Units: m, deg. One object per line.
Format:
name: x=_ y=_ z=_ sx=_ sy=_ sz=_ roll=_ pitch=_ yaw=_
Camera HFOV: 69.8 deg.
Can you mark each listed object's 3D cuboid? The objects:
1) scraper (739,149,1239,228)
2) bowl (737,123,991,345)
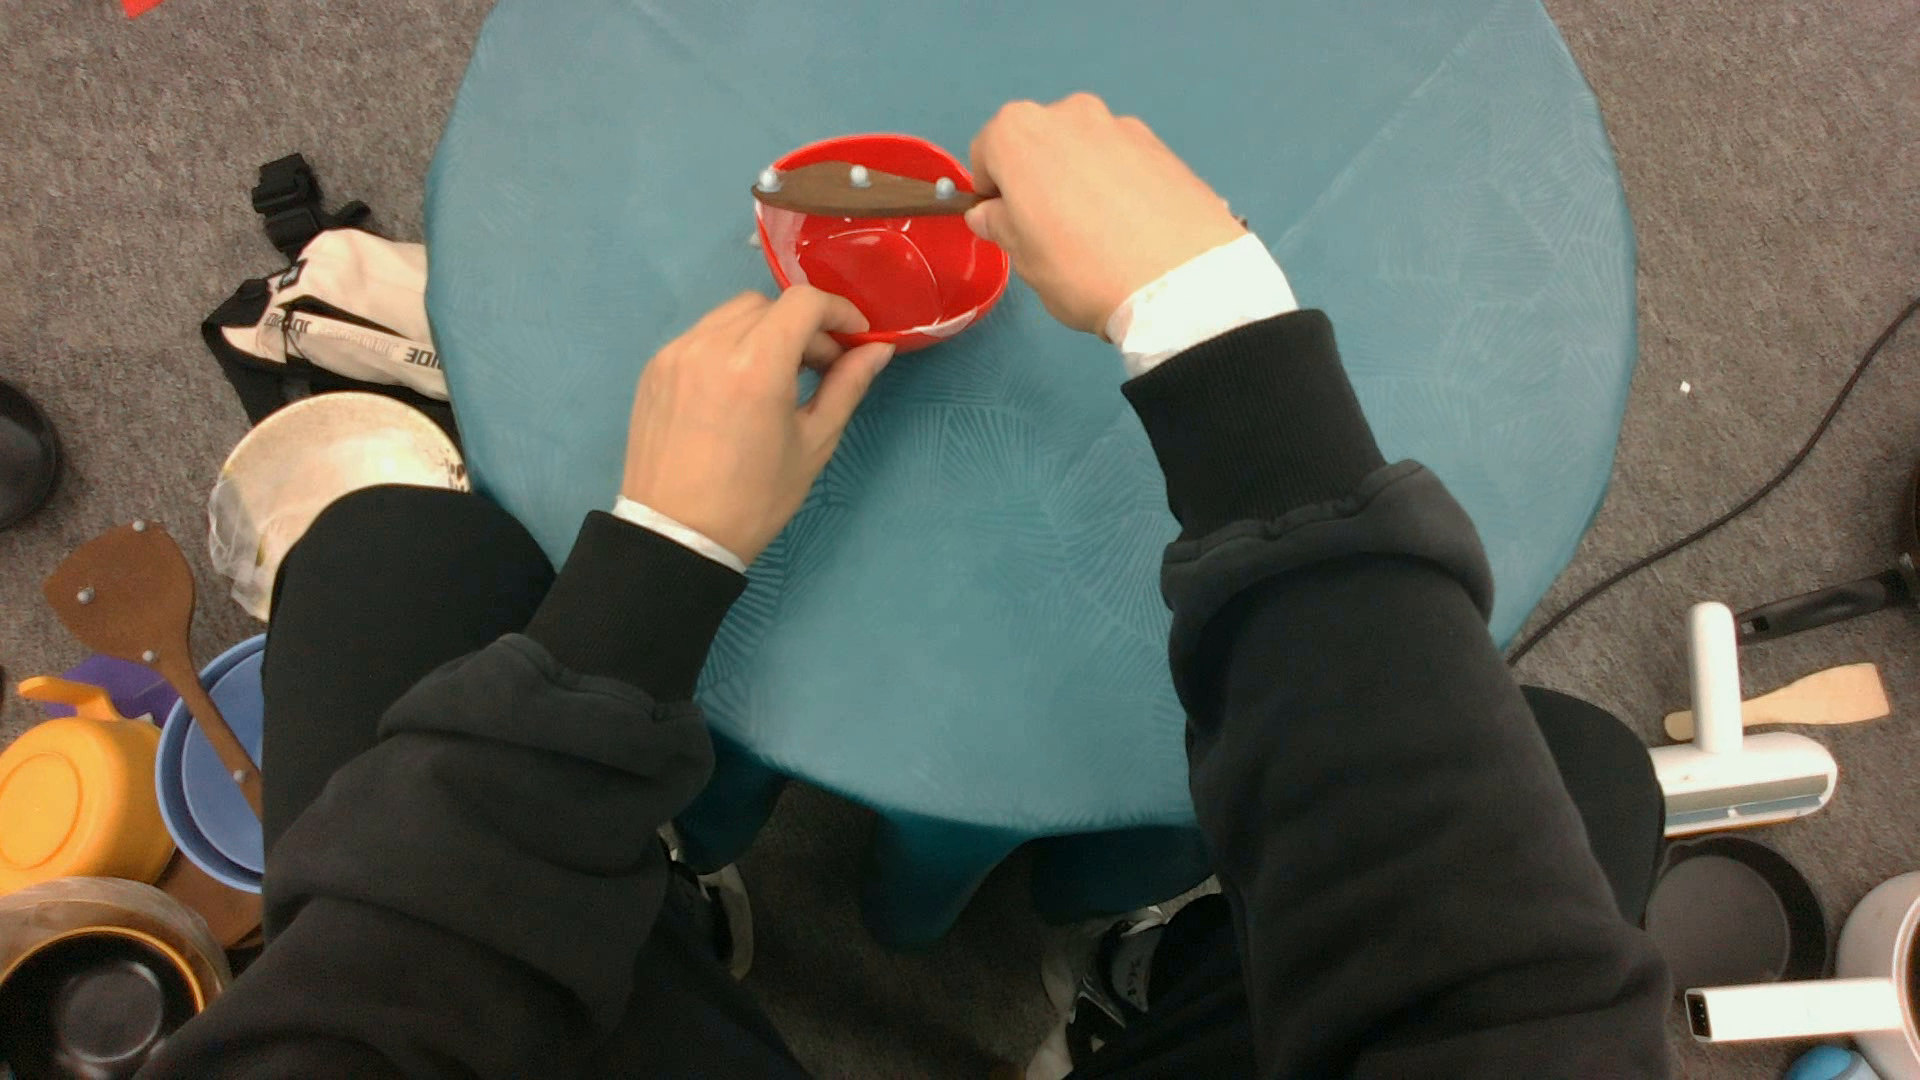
scraper: x=0.010 y=-0.143 z=0.565 sx=0.211 sy=0.076 sz=0.011 roll=13 pitch=117 yaw=25
bowl: x=-0.048 y=-0.133 z=0.637 sx=0.119 sy=0.051 sz=0.119 roll=7 pitch=62 yaw=-13
